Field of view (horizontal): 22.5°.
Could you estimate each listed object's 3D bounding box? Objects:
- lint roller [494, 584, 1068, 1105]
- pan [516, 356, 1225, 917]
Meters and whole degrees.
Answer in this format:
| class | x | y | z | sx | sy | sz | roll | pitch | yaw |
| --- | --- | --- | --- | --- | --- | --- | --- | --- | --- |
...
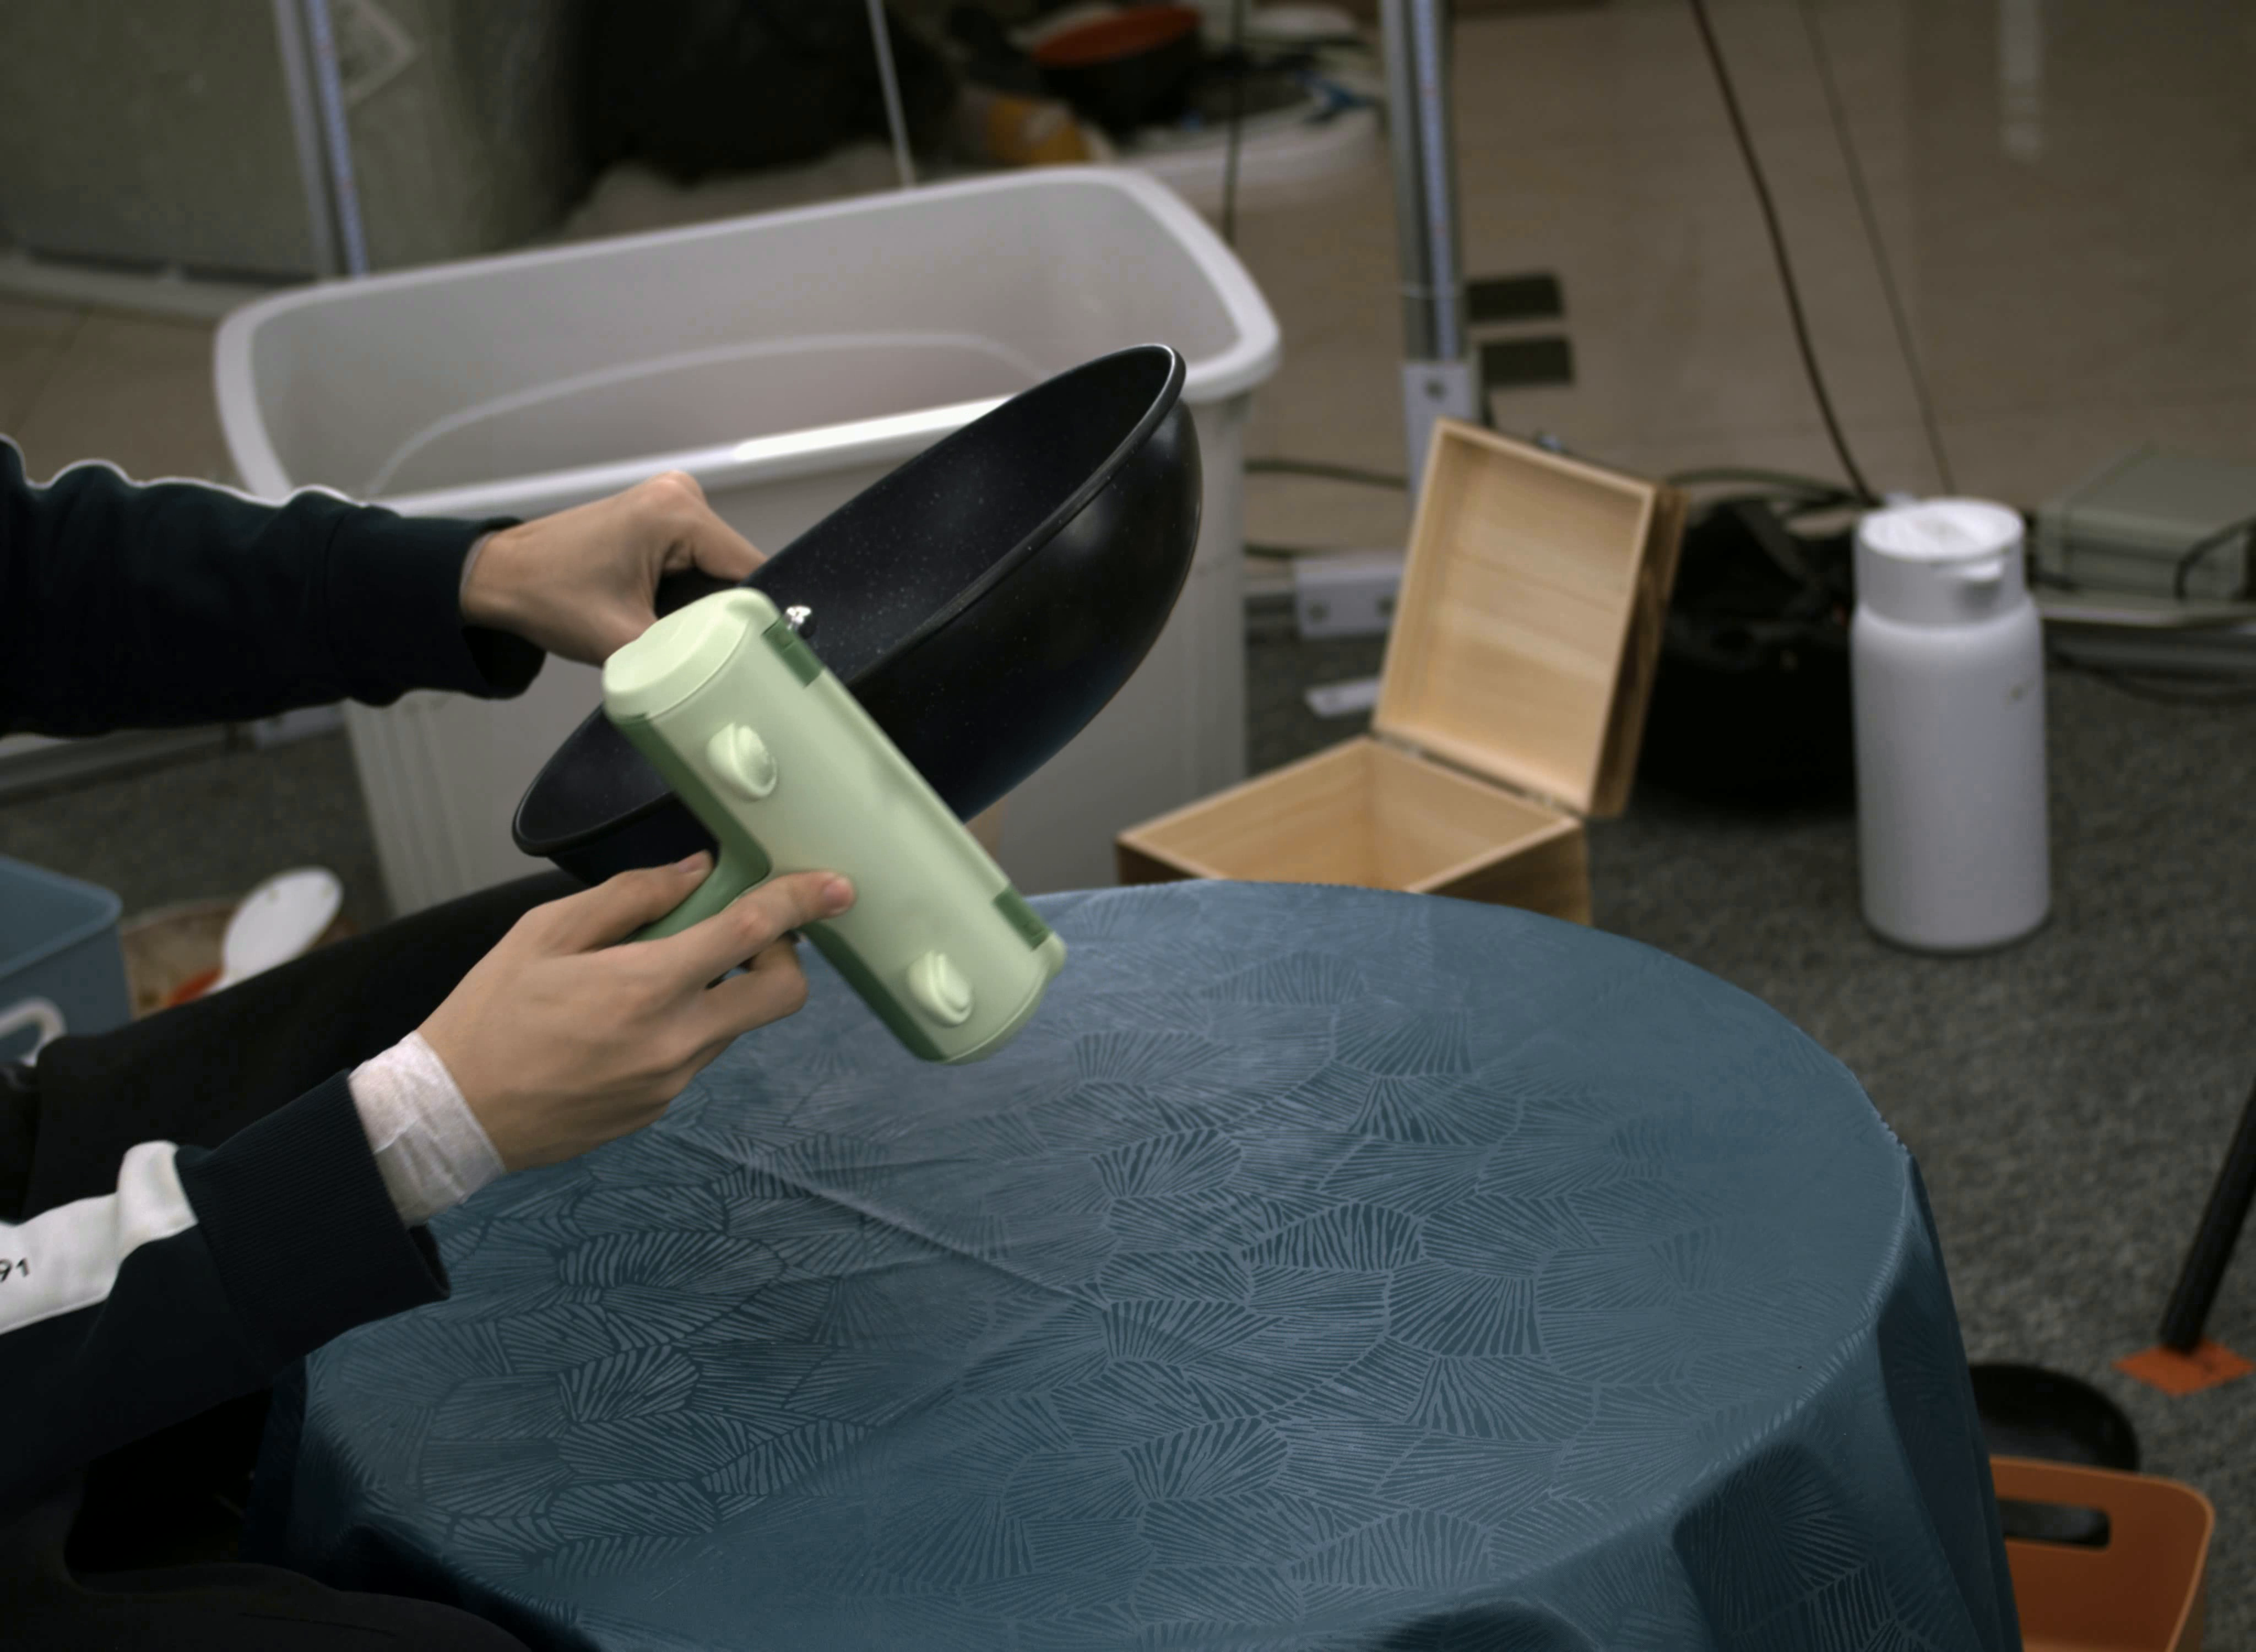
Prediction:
| class | x | y | z | sx | sy | sz | roll | pitch | yaw |
| --- | --- | --- | --- | --- | --- | --- | --- | --- | --- |
| lint roller | -0.140 | 0.041 | 1.955 | 0.183 | 0.201 | 0.081 | -42 | 29 | -4 |
| pan | -0.117 | -0.064 | 2.190 | 0.308 | 0.112 | 0.476 | -39 | 15 | -17 |
